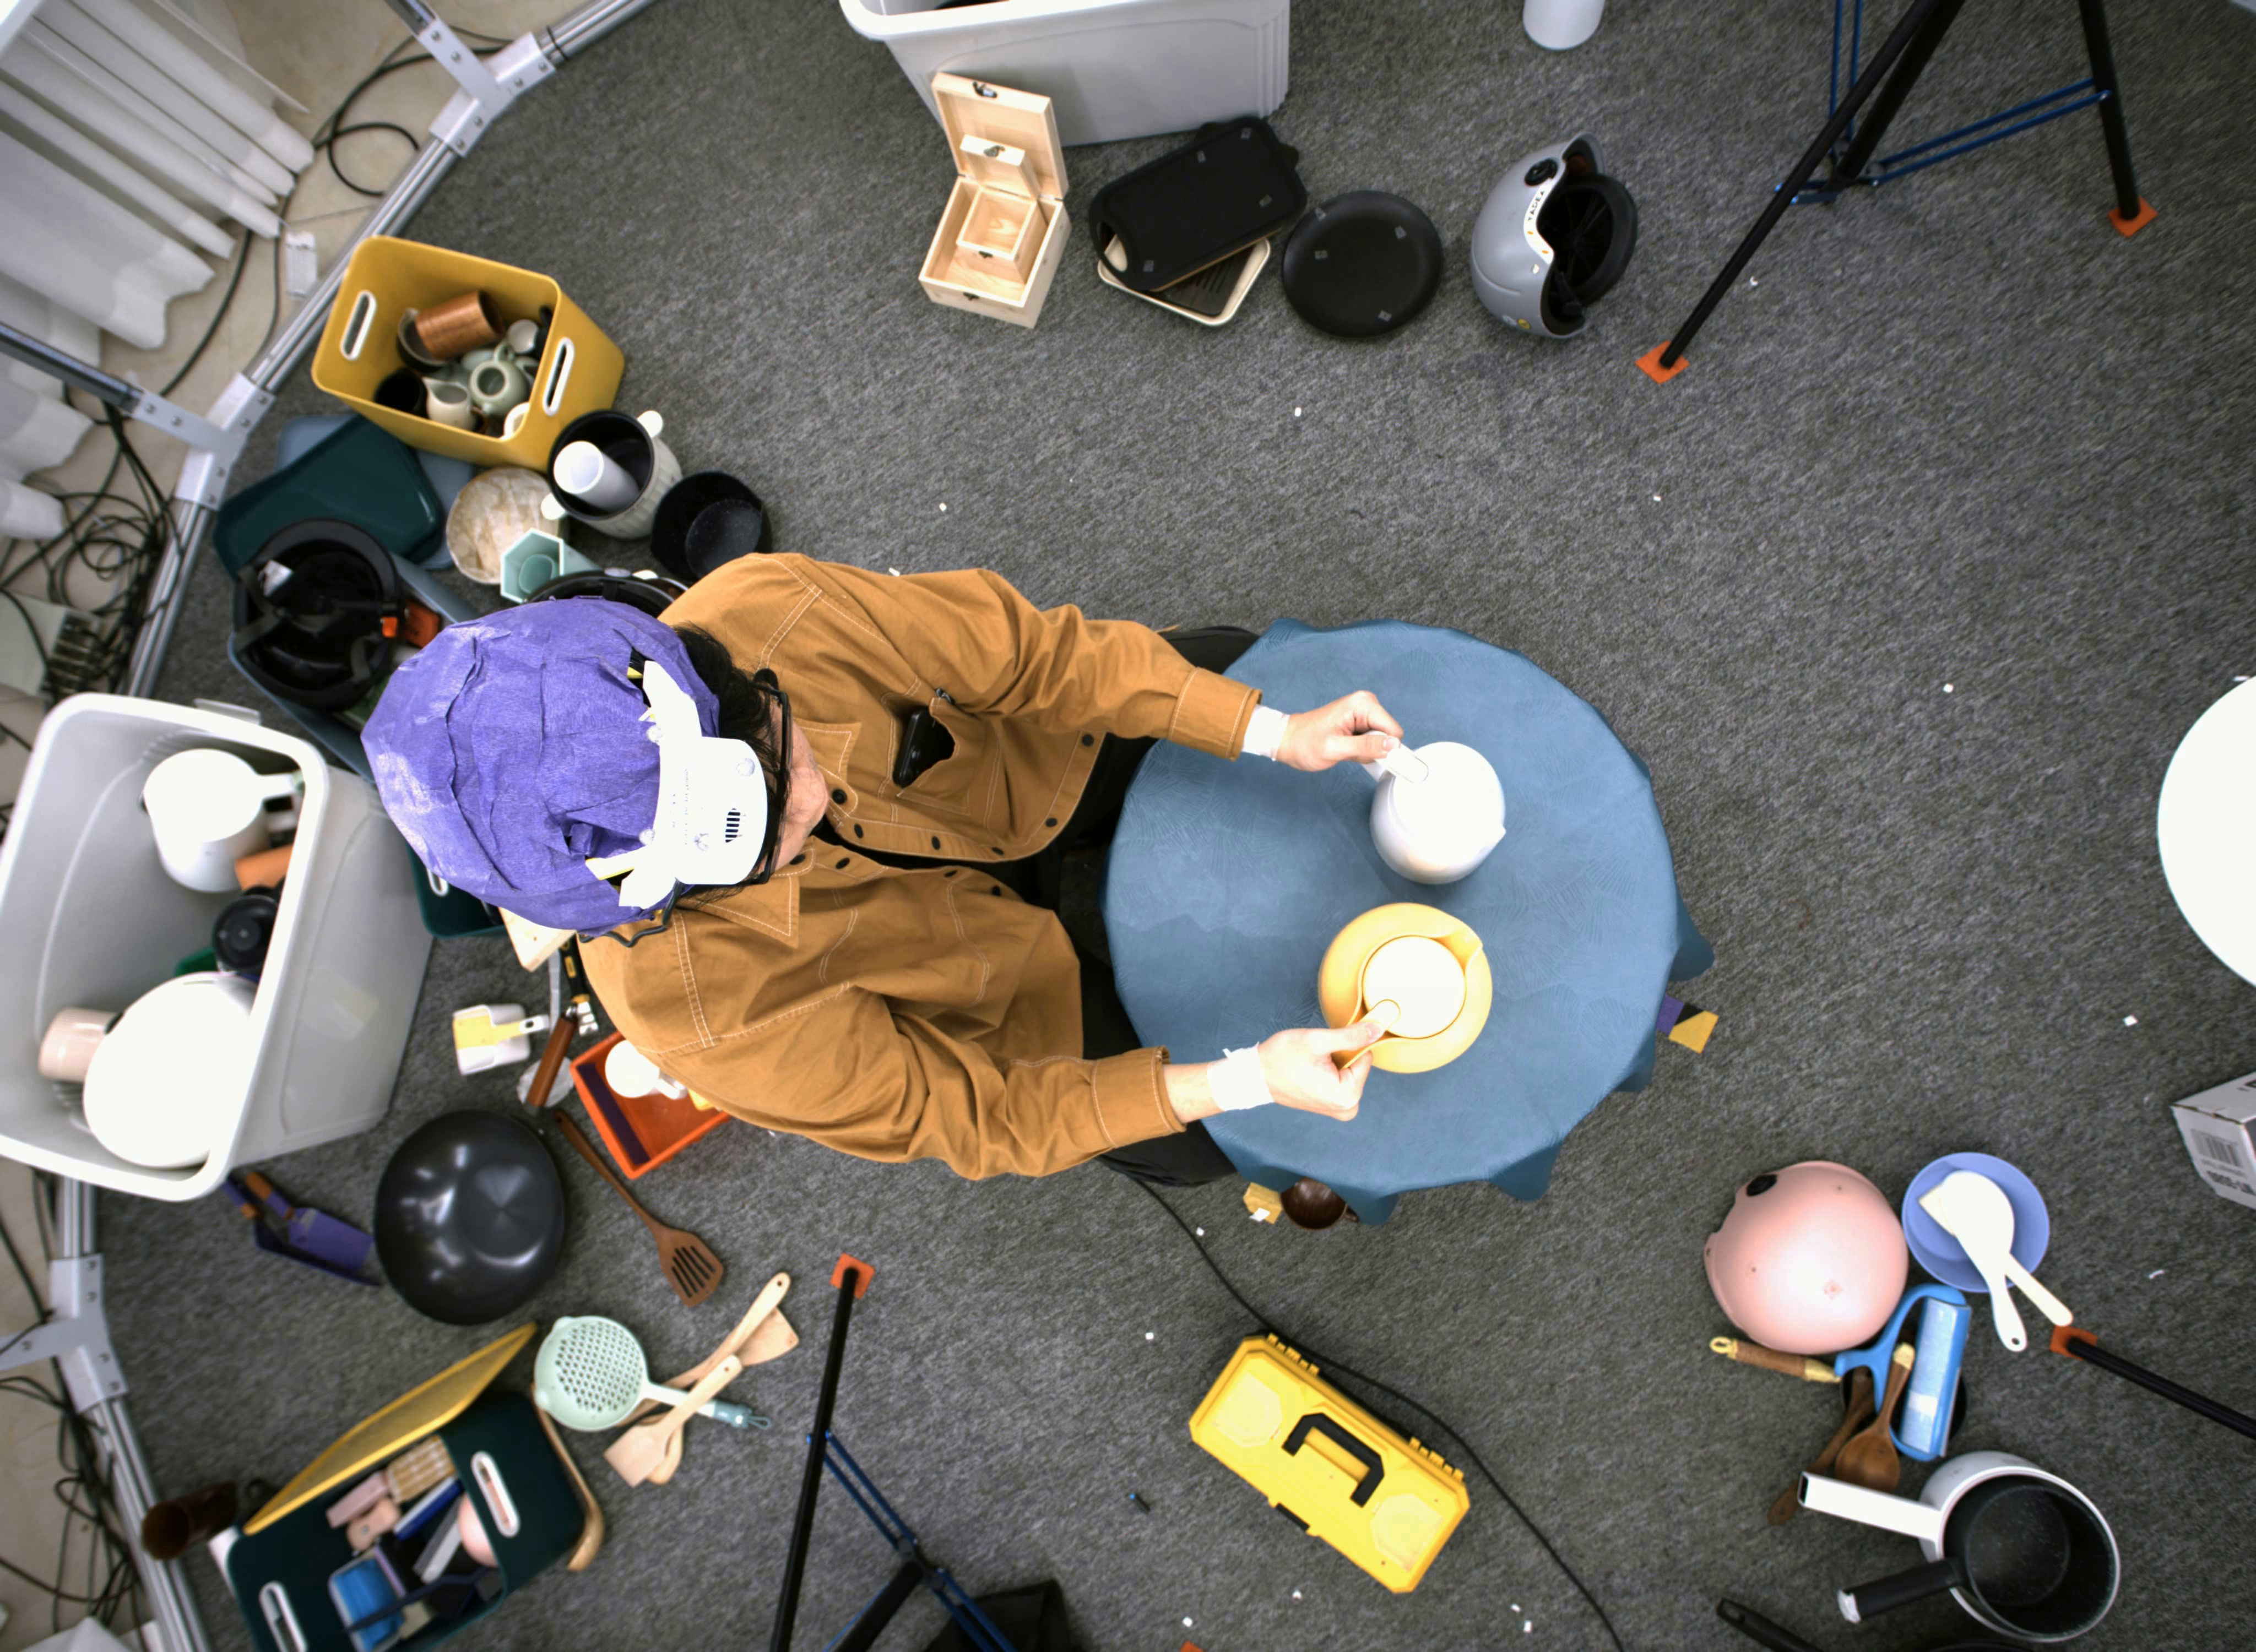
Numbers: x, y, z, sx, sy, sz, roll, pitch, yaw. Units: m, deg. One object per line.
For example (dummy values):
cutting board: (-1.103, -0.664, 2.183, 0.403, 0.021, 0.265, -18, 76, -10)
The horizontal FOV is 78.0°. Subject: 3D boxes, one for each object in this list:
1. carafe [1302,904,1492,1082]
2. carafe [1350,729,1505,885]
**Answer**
carafe: (0.249, 0.166, 1.325, 0.203, 0.261, 0.162, -39, 79, 1)
carafe: (0.286, -0.028, 1.337, 0.167, 0.249, 0.133, 40, 93, 12)
